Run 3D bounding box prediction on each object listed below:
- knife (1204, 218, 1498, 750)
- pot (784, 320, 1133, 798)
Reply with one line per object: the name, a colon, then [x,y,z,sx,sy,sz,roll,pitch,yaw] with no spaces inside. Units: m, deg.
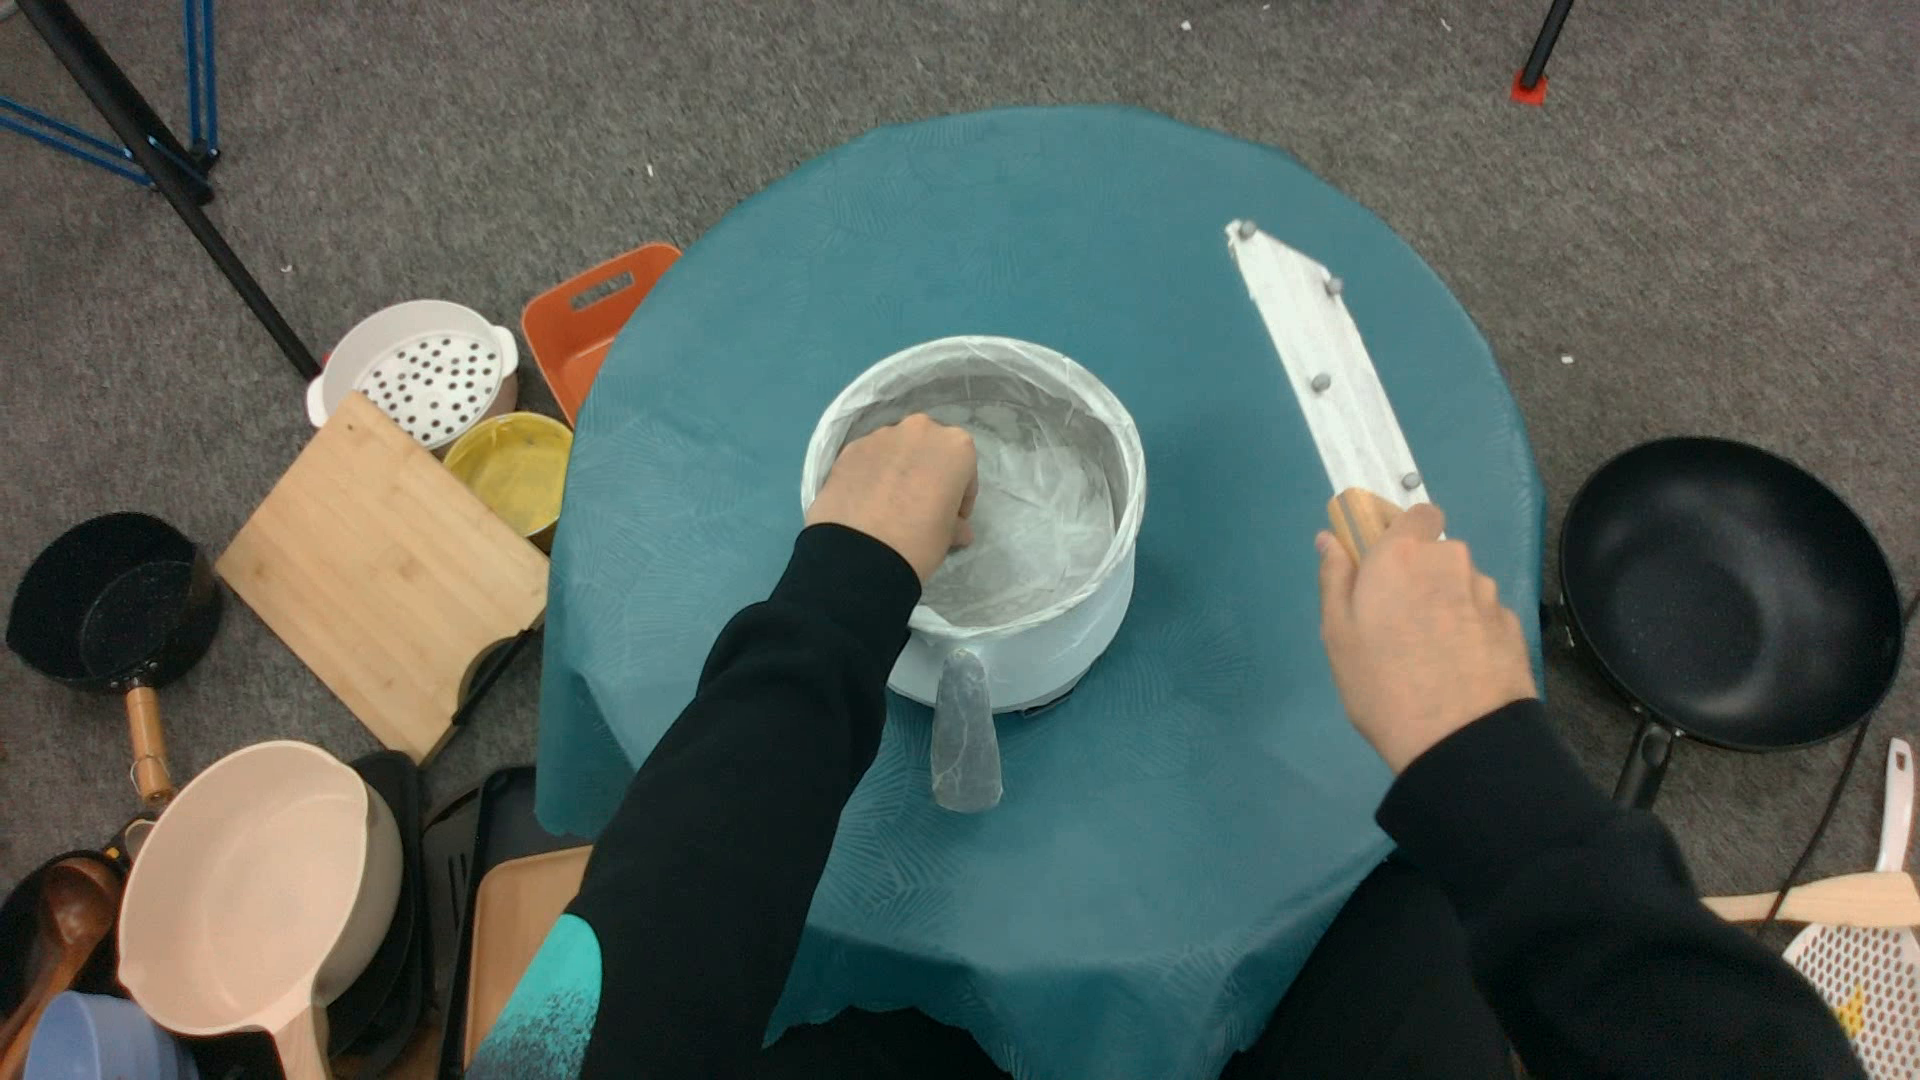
knife: [0.188,-0.043,0.667,0.114,0.021,0.316,18,47,-34]
pot: [0.001,0.014,0.743,0.178,0.136,0.234,0,62,3]
